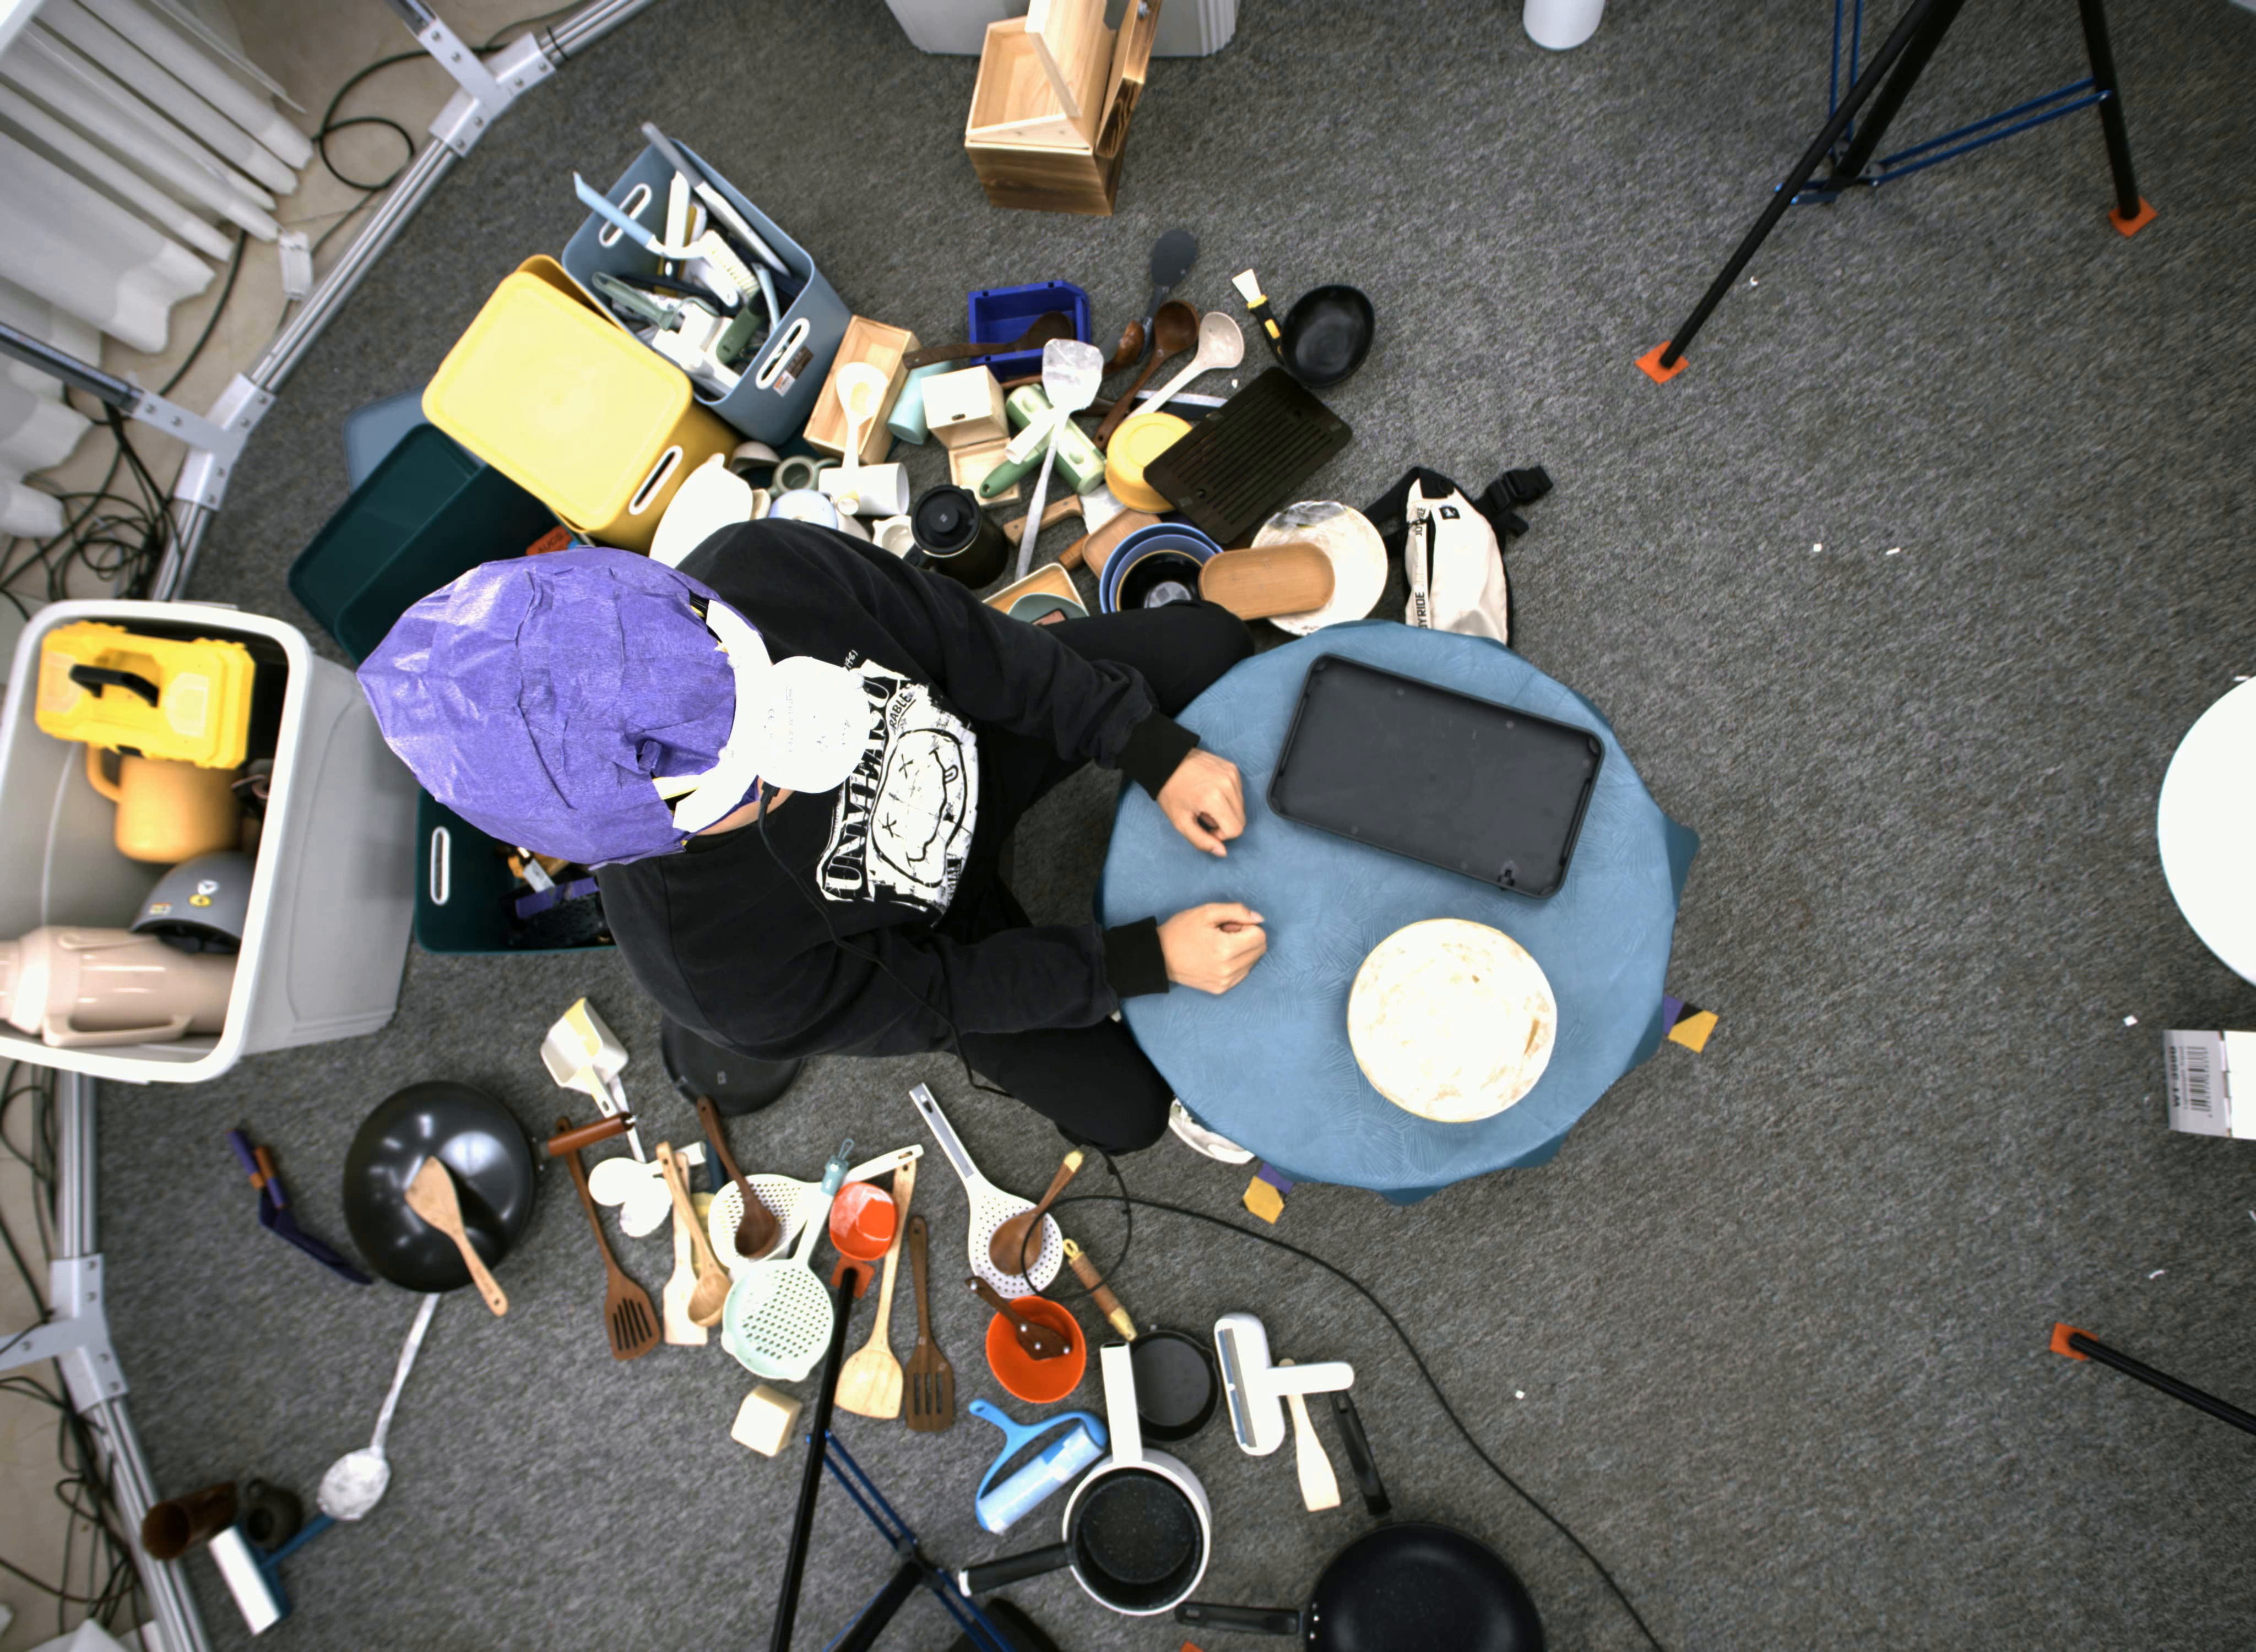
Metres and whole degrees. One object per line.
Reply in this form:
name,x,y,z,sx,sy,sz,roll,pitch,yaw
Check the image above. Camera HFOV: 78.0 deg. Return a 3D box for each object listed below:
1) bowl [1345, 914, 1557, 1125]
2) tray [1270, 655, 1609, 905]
bowl,0.323,0.191,1.400,0.215,0.094,0.214,-1,87,10
tray,0.323,-0.051,1.444,0.318,0.037,0.184,19,91,12
